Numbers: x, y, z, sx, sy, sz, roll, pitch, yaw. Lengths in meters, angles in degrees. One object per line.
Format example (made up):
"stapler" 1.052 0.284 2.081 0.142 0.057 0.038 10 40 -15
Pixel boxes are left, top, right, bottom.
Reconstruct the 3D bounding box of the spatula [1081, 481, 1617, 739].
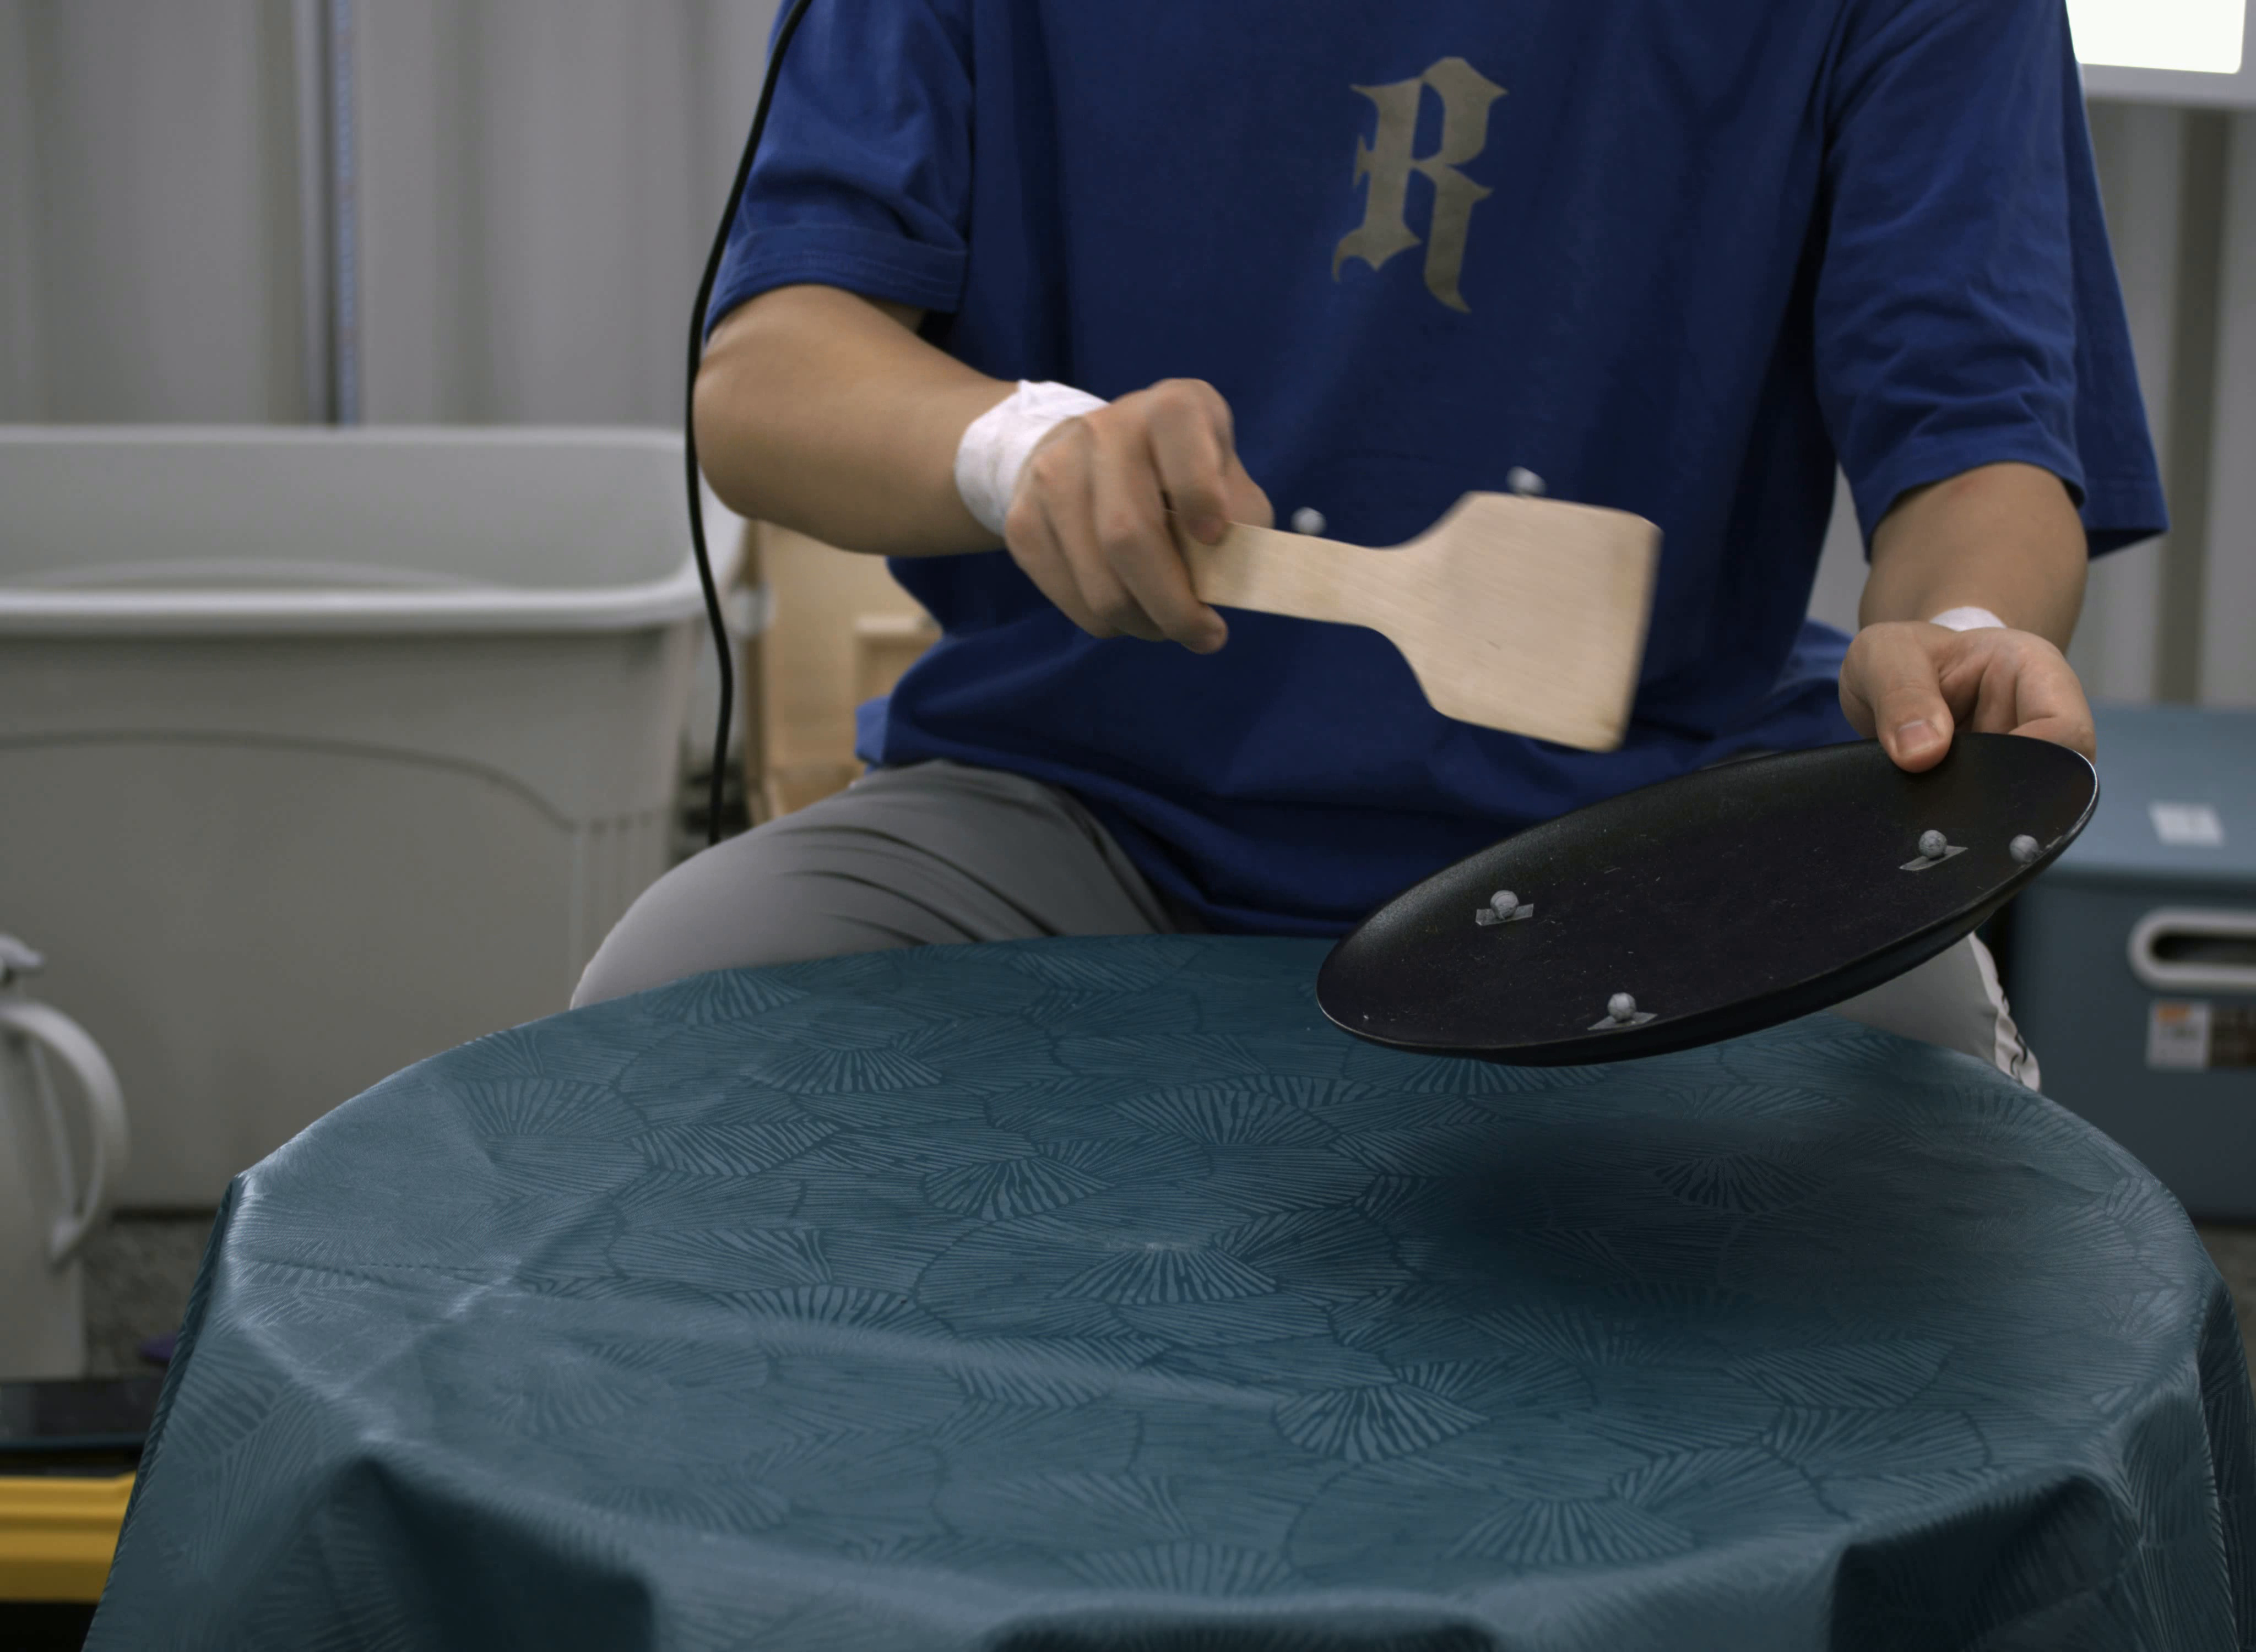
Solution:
"spatula" 0.060 -0.078 1.635 0.011 0.072 0.289 5 5 -32

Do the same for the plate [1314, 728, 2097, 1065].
"plate" 0.175 0.025 1.585 0.243 0.023 0.243 -16 14 5
